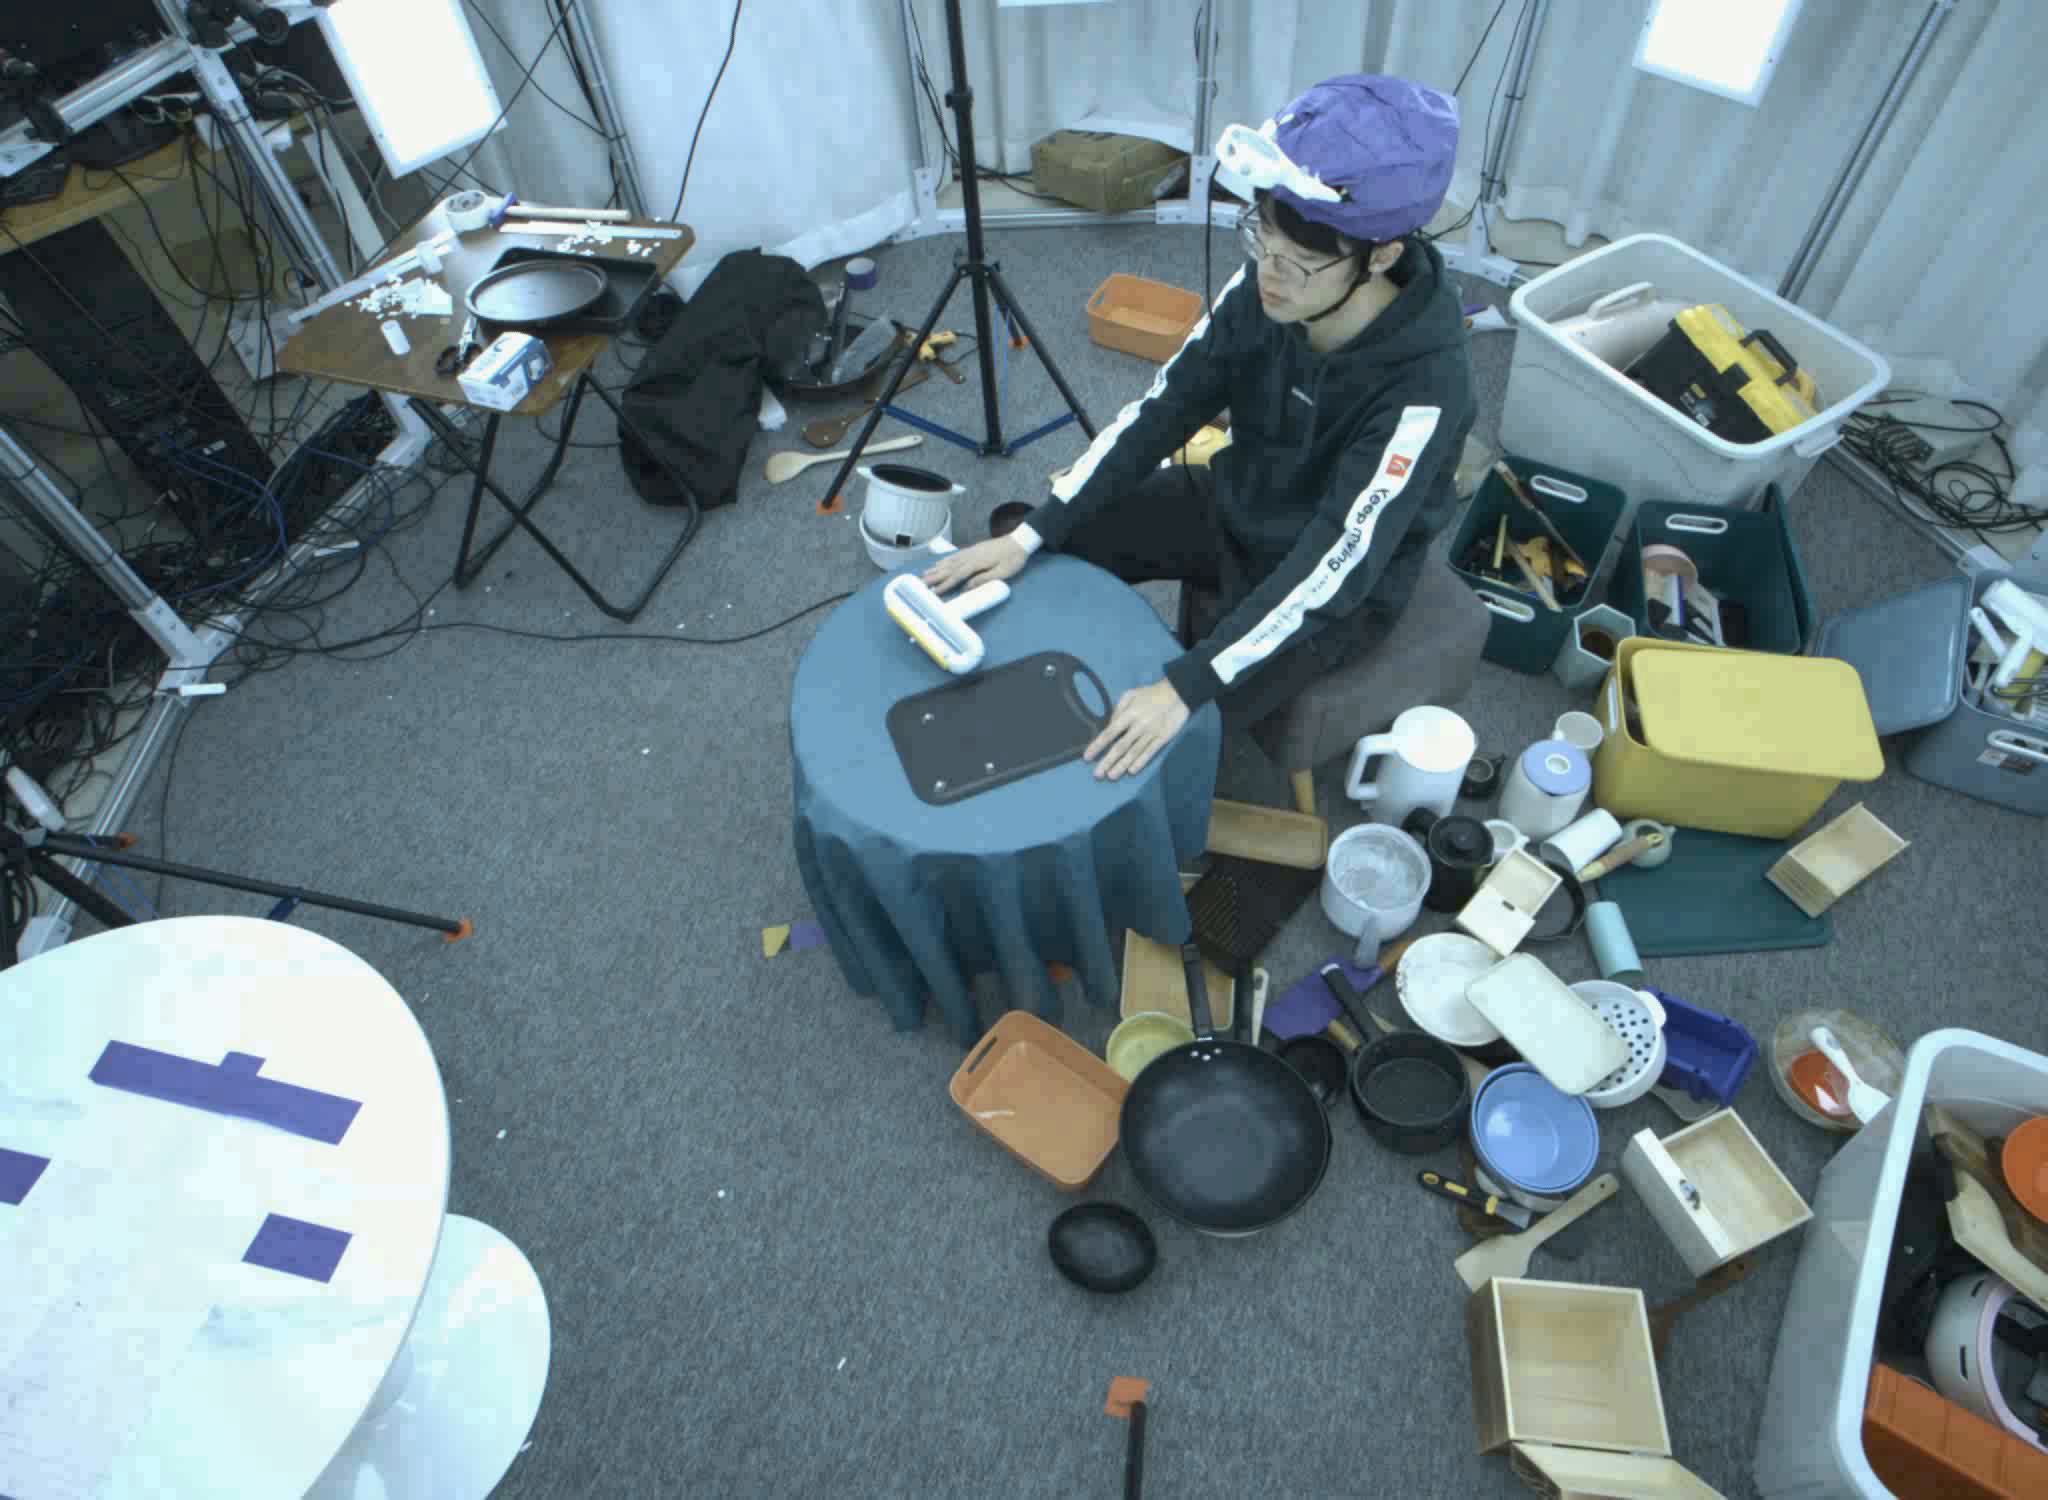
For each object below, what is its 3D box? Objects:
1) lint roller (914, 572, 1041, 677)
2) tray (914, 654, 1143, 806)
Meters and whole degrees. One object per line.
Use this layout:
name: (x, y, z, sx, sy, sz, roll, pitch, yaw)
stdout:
lint roller: (-0.052, -0.207, 1.913, 0.195, 0.074, 0.190, -24, 63, -32)
tray: (0.011, -0.038, 1.806, 0.327, 0.010, 0.207, -17, 56, -10)
